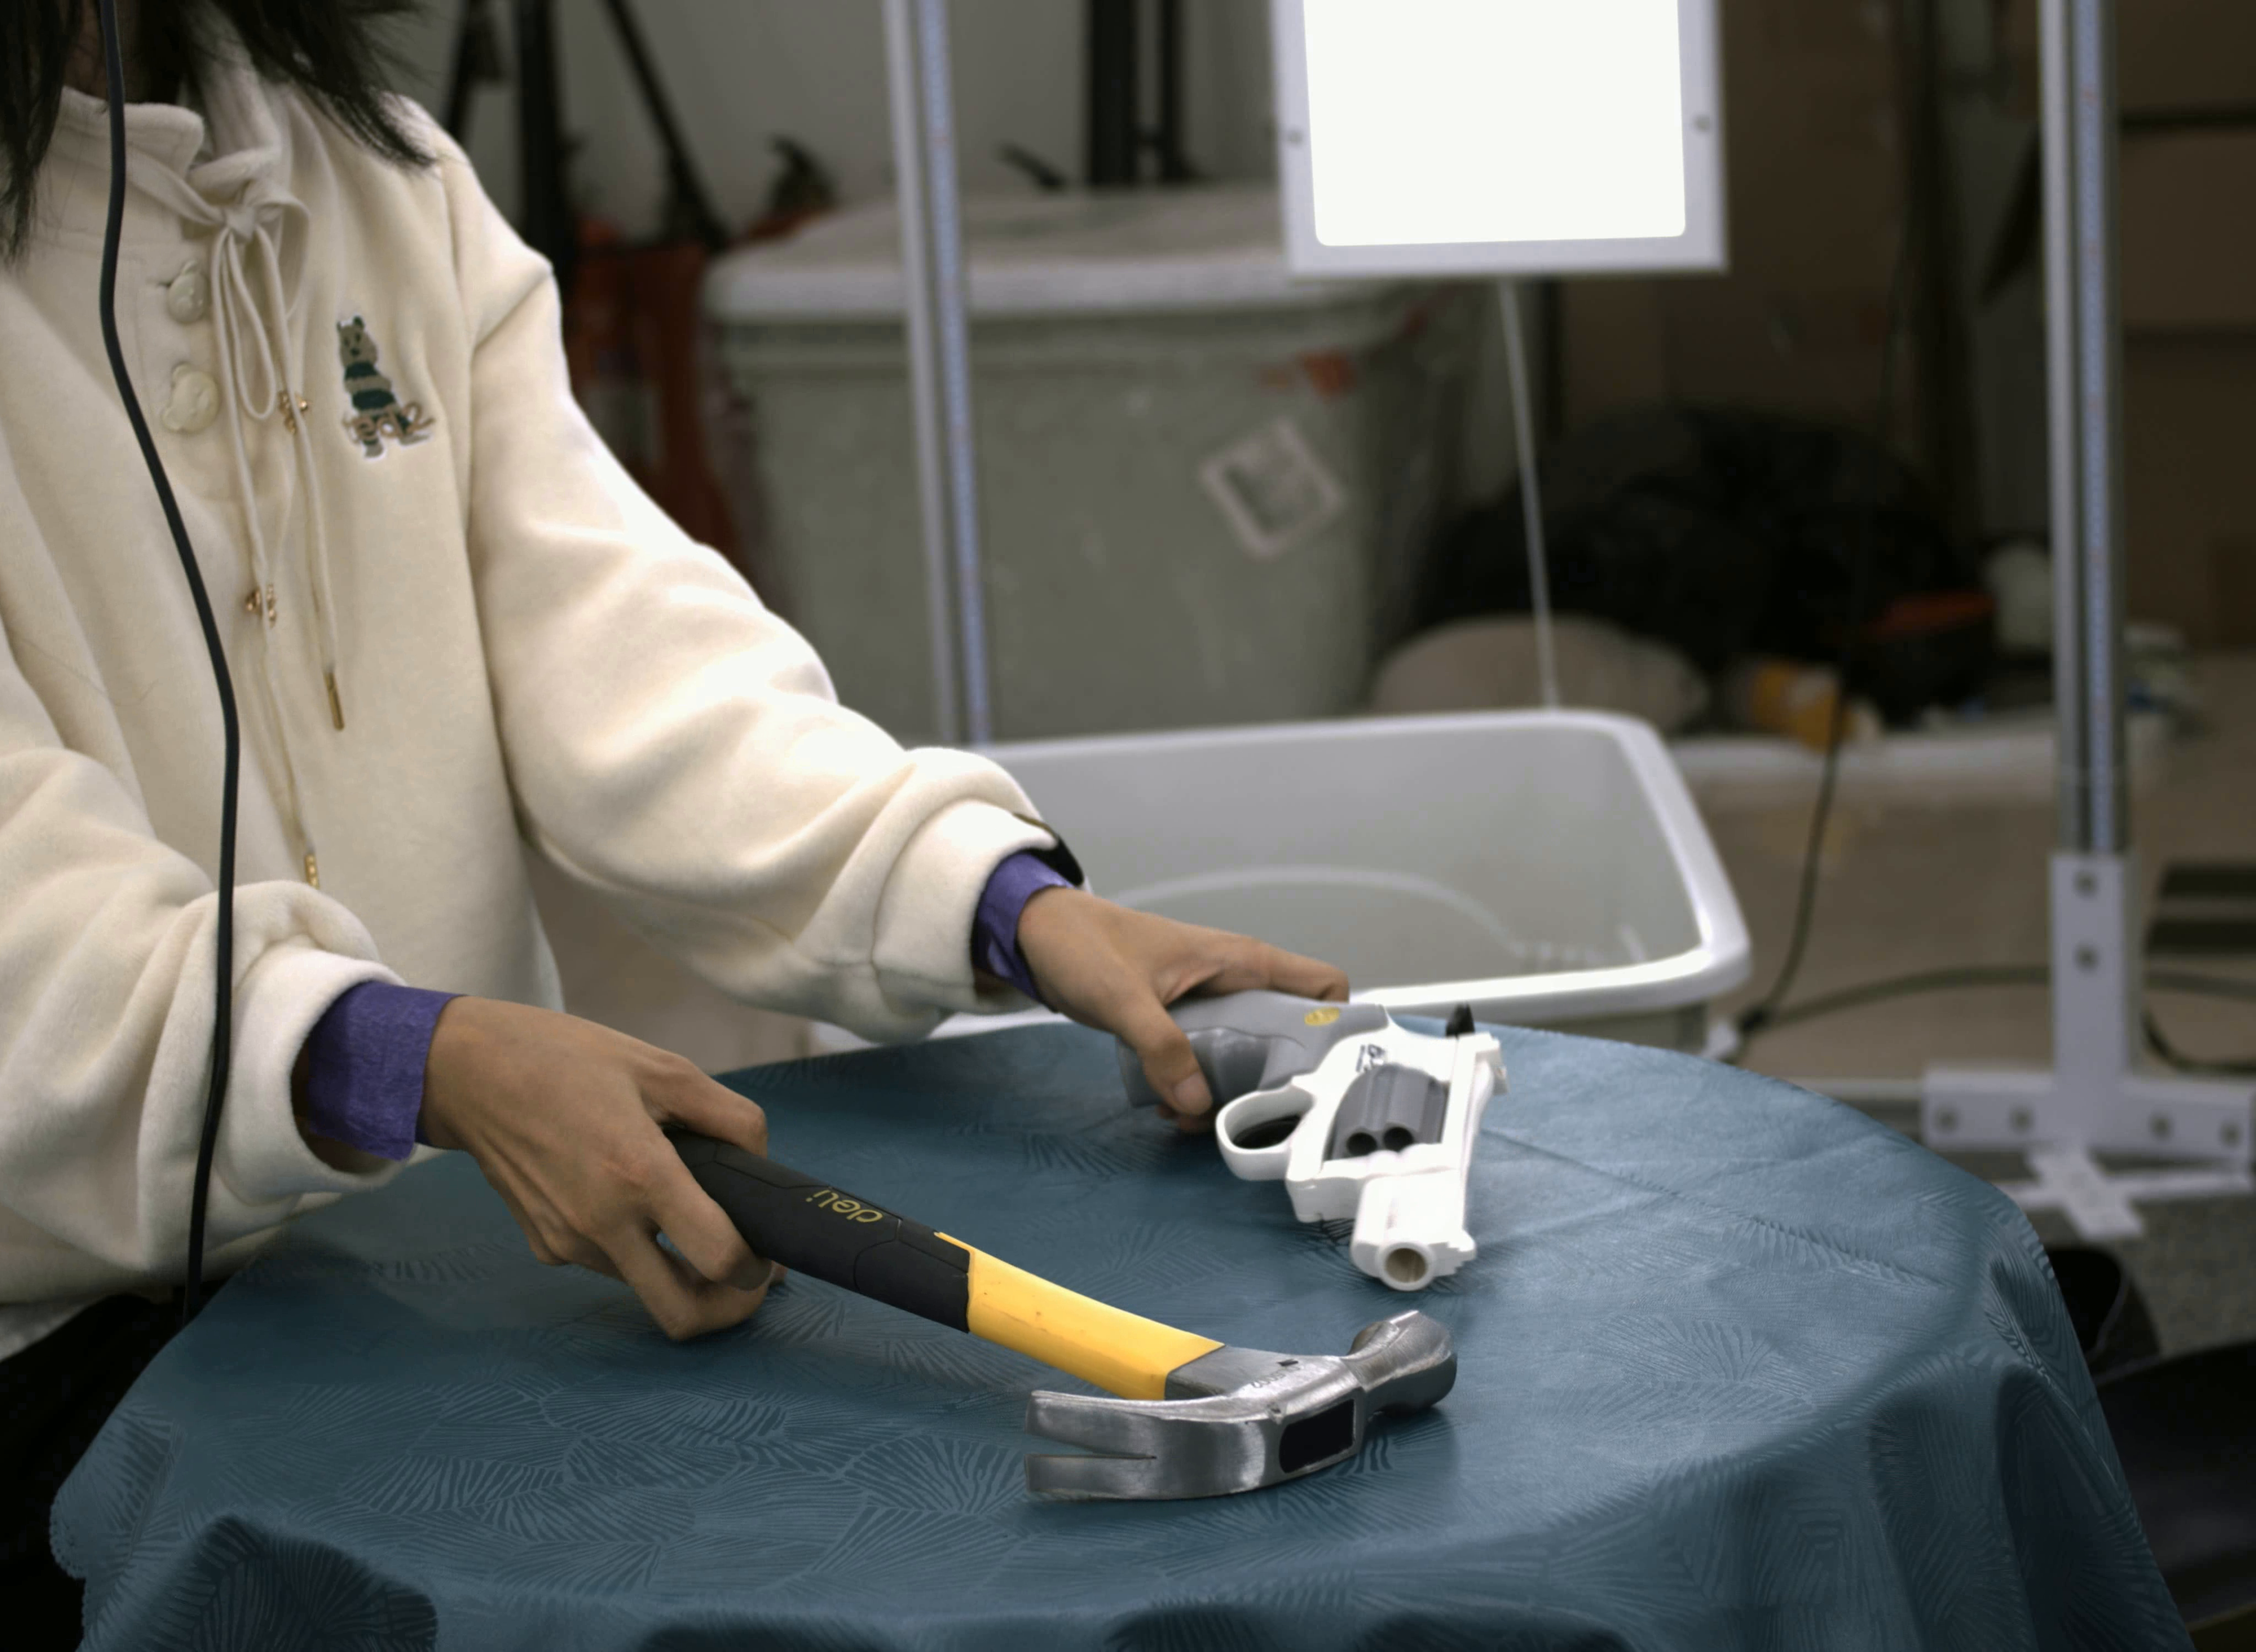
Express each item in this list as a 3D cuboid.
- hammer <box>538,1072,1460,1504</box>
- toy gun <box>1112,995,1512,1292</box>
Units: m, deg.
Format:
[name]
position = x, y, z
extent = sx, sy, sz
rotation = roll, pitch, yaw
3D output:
[hammer]
position = -0.064, 0.136, 1.726
extent = 0.345, 0.032, 0.128
rotation = 19, 30, 41
[toy gun]
position = 0.059, 0.104, 1.865
extent = 0.142, 0.039, 0.207
rotation = -8, 23, 11
